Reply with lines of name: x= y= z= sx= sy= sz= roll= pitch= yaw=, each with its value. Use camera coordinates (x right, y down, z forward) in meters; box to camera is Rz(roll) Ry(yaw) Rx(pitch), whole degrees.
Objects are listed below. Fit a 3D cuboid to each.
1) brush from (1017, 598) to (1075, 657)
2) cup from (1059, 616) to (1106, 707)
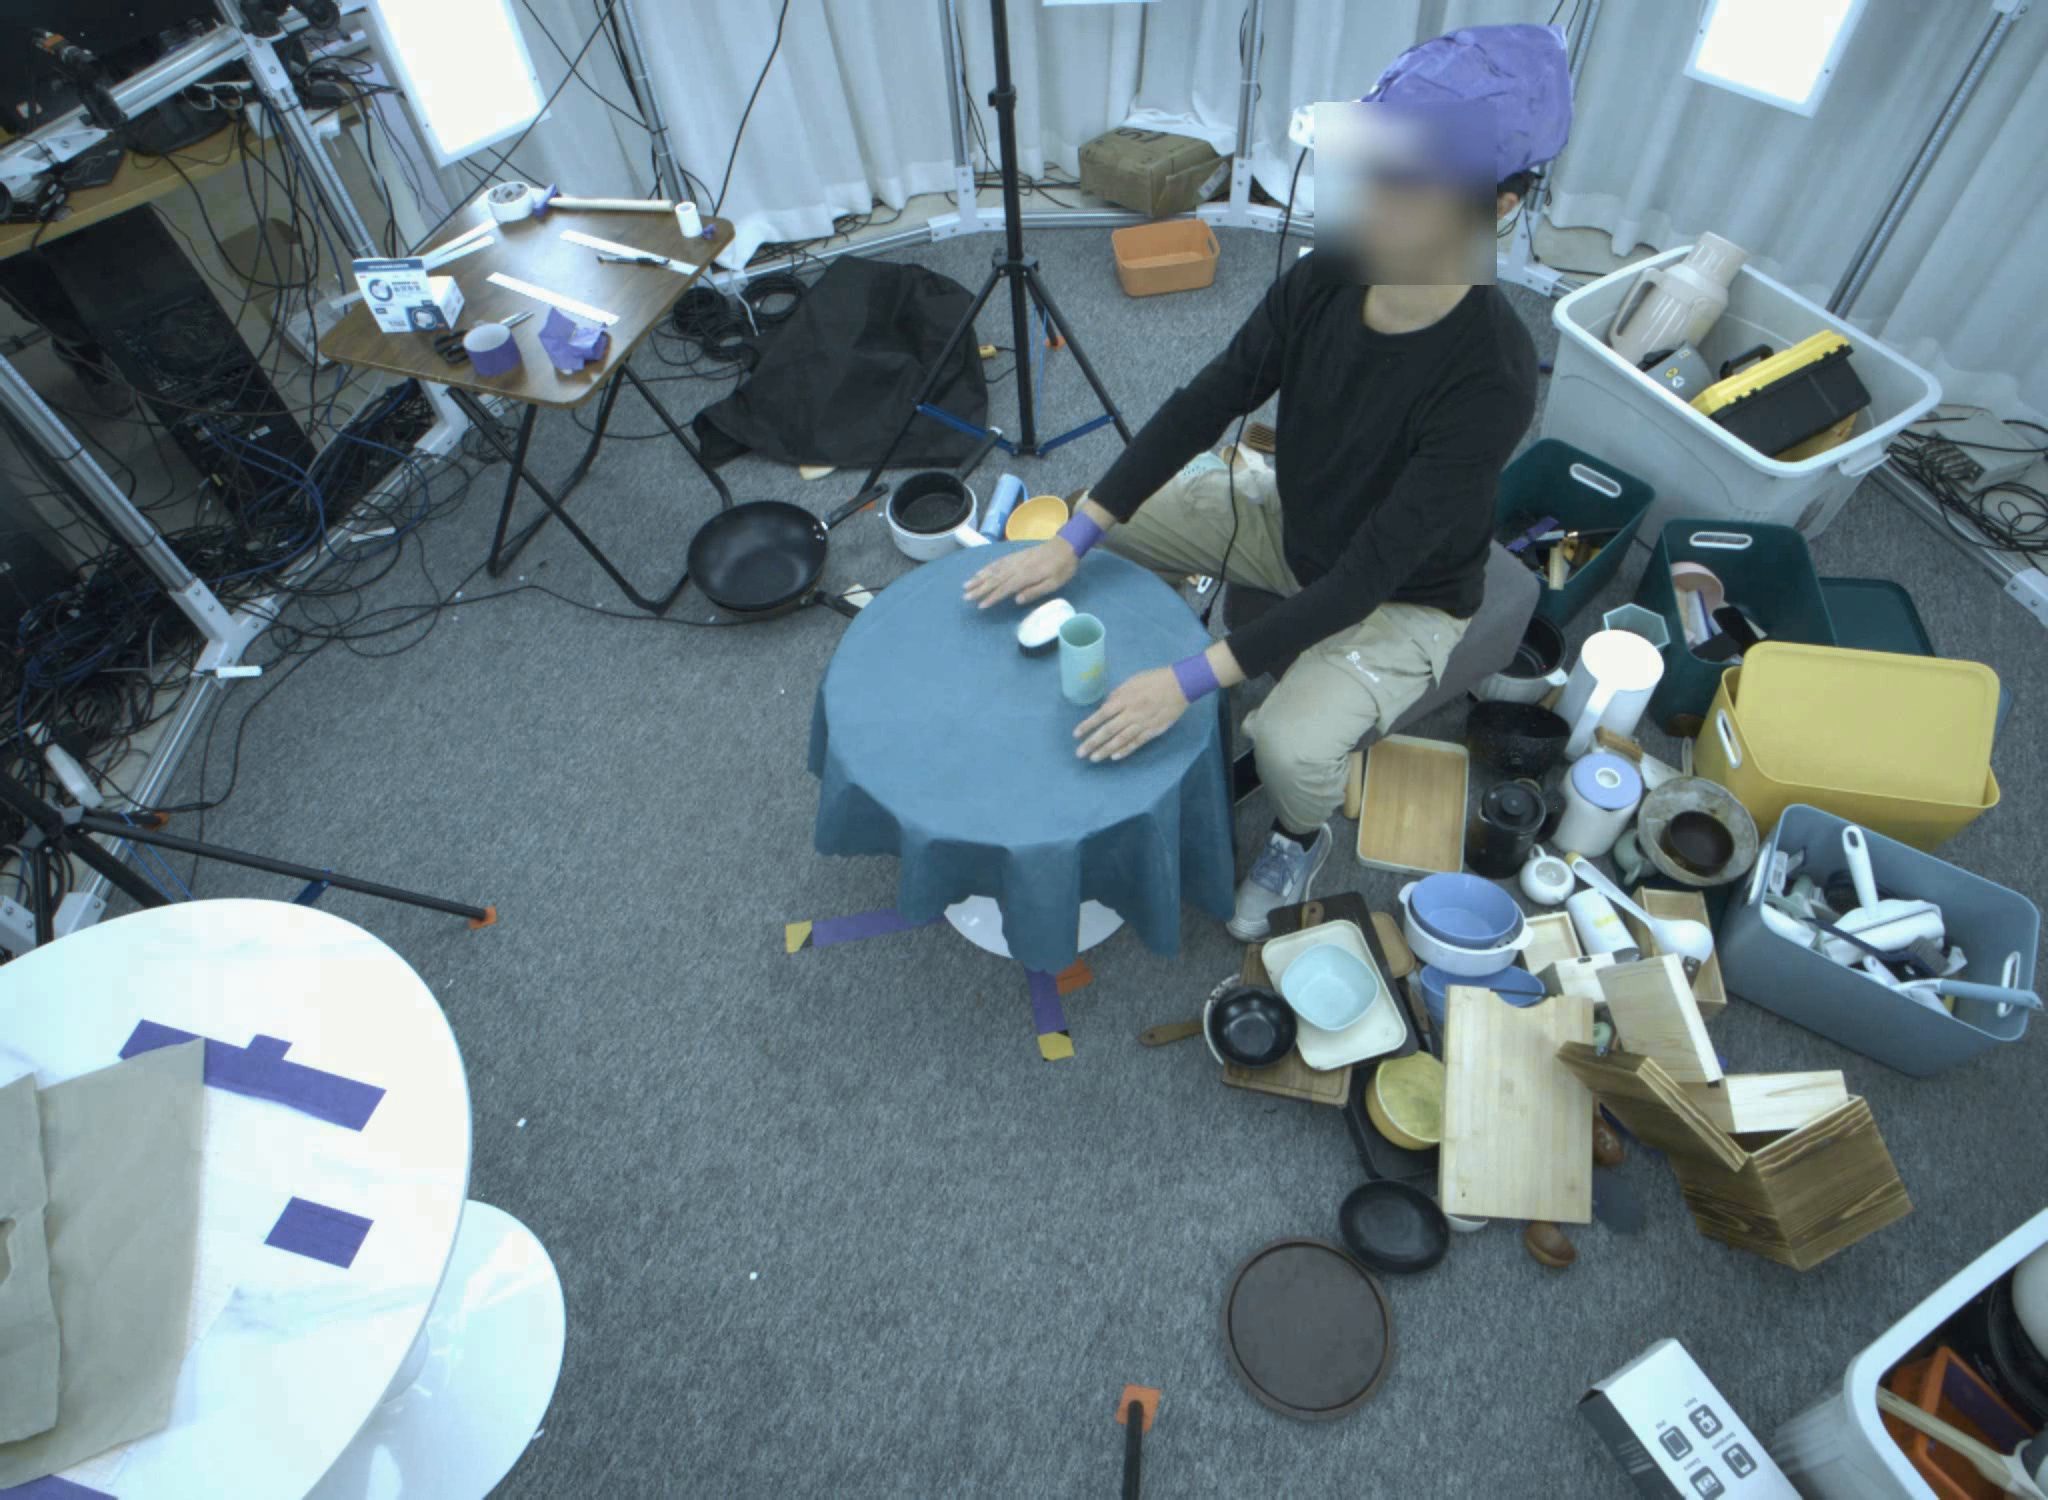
brush: x=0.033 y=-0.195 z=1.882 sx=0.100 sy=0.073 sz=0.049 roll=-30 pitch=59 yaw=-17
cup: x=0.086 y=-0.129 z=1.802 sx=0.066 sy=0.134 sz=0.066 roll=-2 pitch=54 yaw=4
